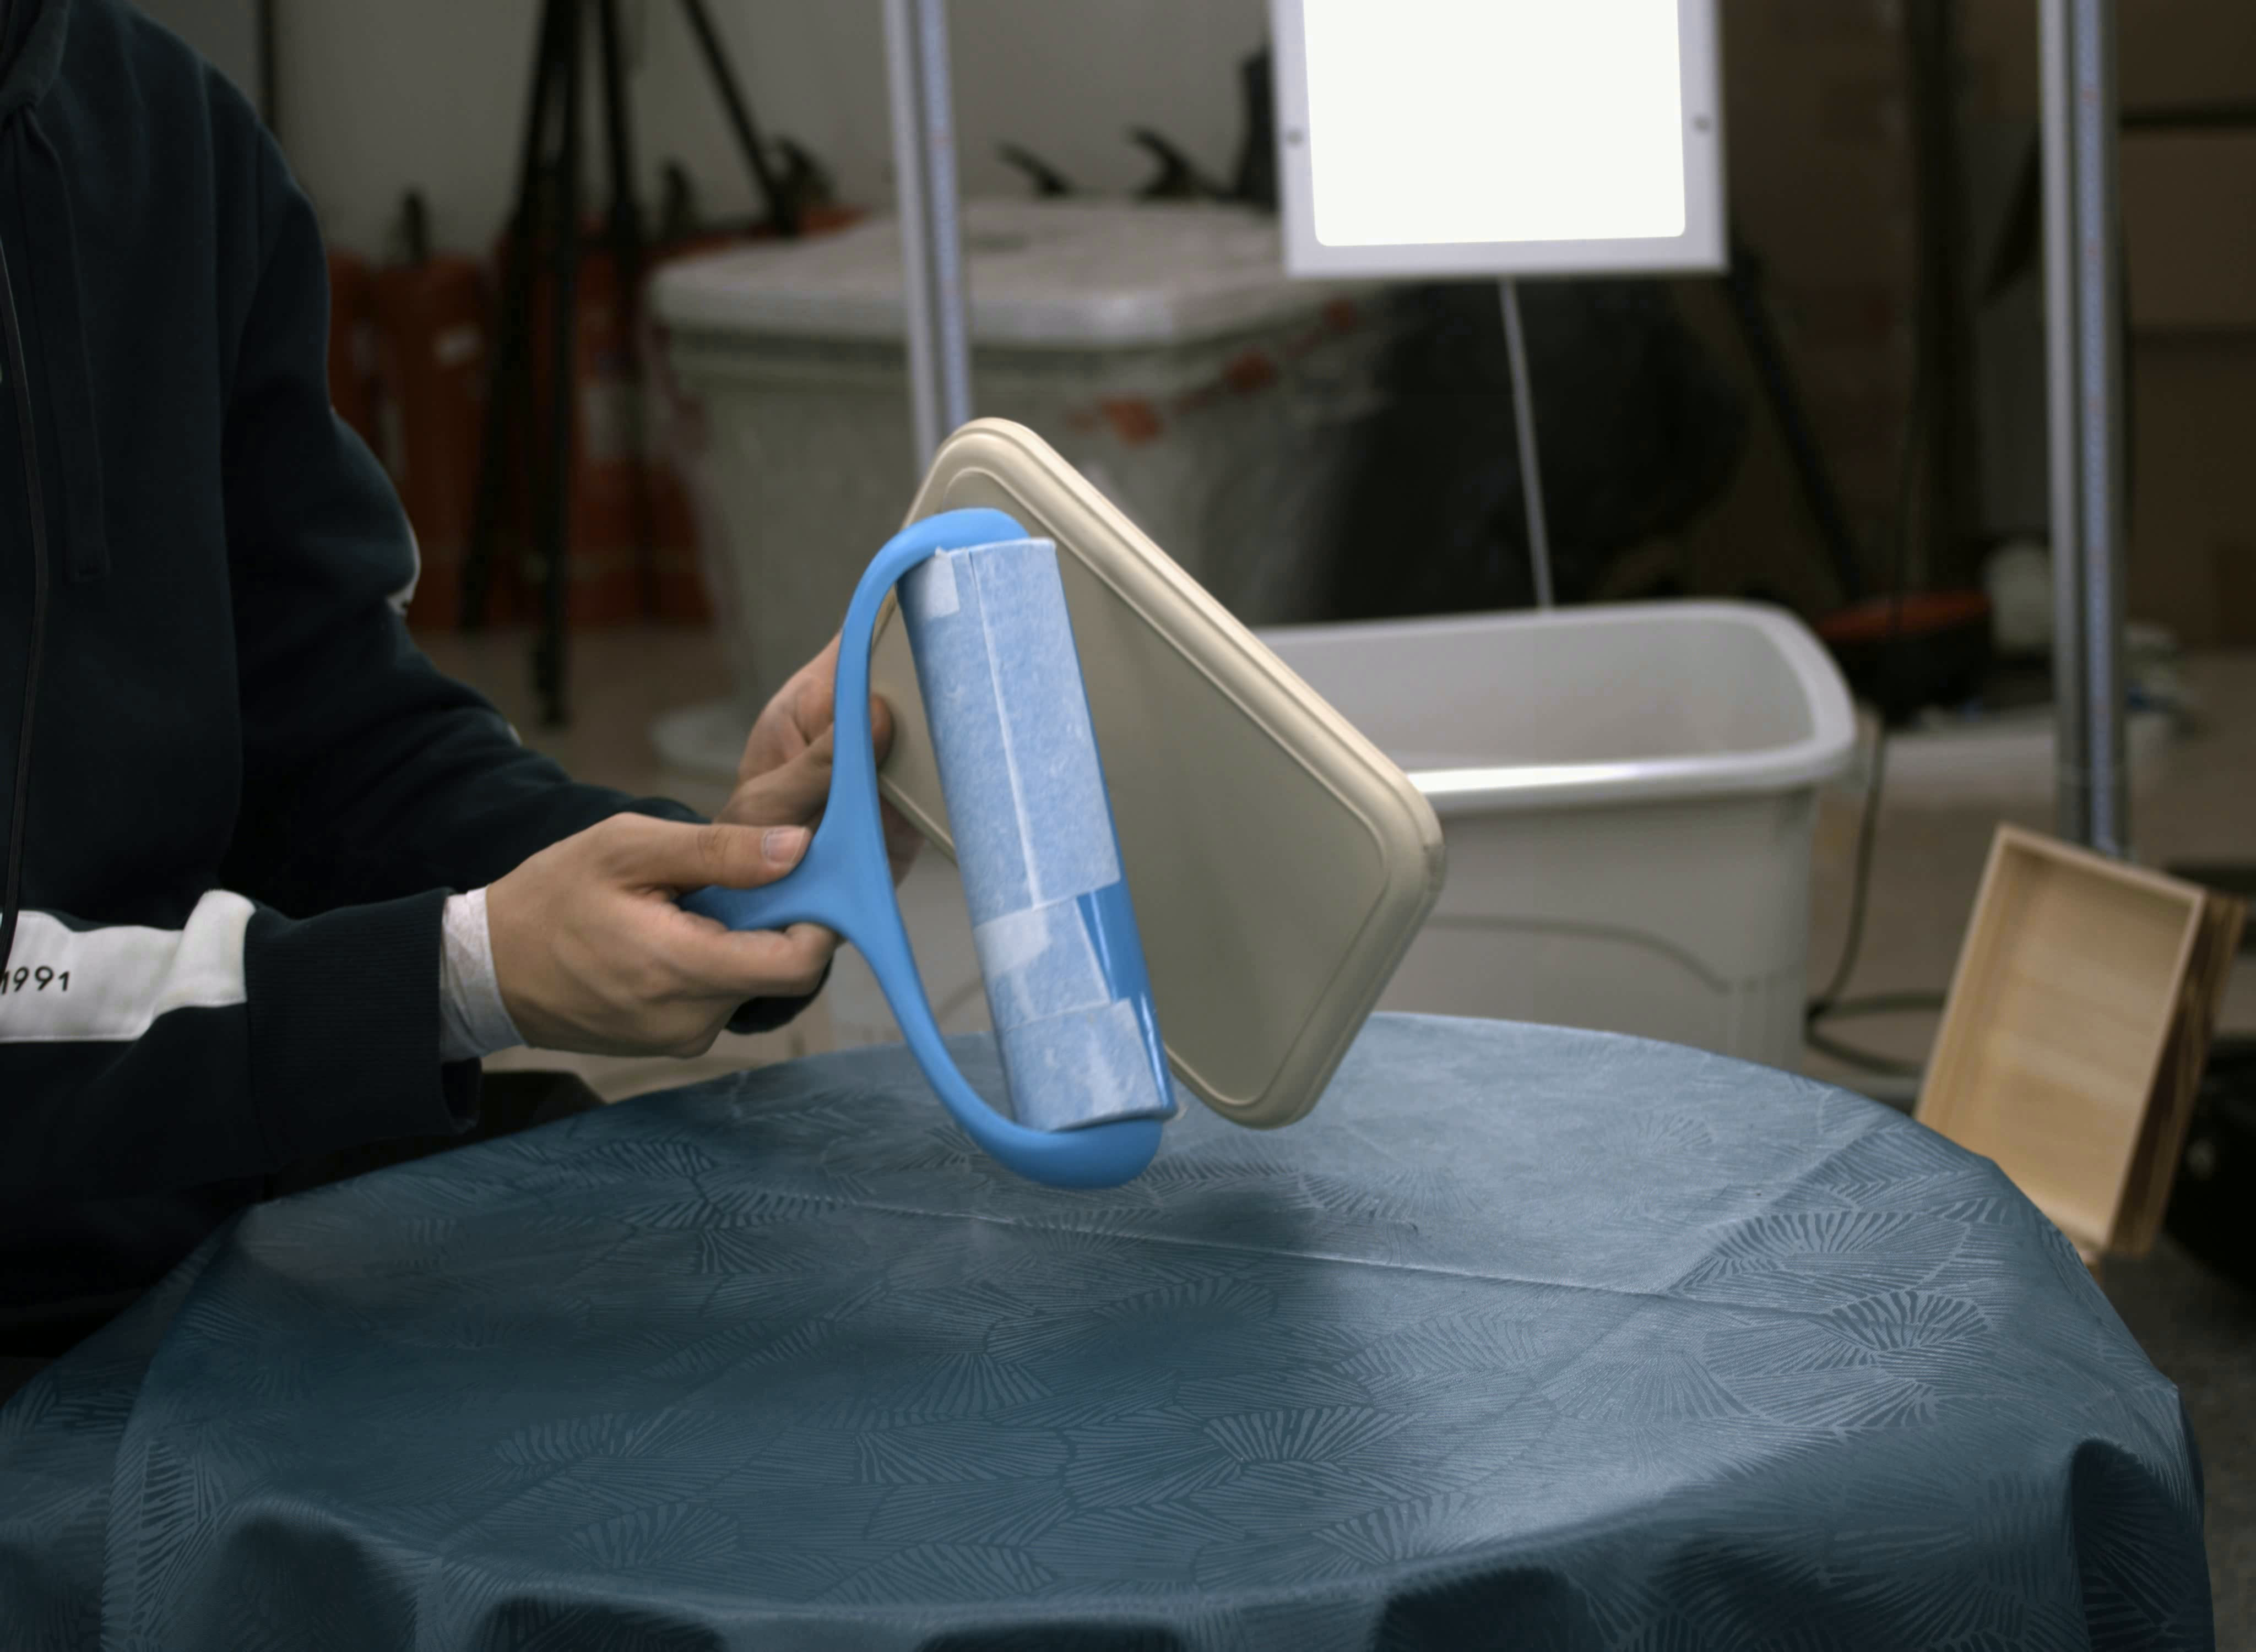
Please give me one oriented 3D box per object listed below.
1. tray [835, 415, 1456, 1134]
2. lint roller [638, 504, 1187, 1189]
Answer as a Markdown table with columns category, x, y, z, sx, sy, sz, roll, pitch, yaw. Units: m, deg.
| category | x | y | z | sx | sy | sz | roll | pitch | yaw |
| --- | --- | --- | --- | --- | --- | --- | --- | --- | --- |
| tray | -0.001 | -0.015 | 1.887 | 0.242 | 0.174 | 0.017 | 43 | 43 | 18 |
| lint roller | -0.084 | 0.023 | 1.796 | 0.182 | 0.229 | 0.067 | -18 | -10 | 14 |
